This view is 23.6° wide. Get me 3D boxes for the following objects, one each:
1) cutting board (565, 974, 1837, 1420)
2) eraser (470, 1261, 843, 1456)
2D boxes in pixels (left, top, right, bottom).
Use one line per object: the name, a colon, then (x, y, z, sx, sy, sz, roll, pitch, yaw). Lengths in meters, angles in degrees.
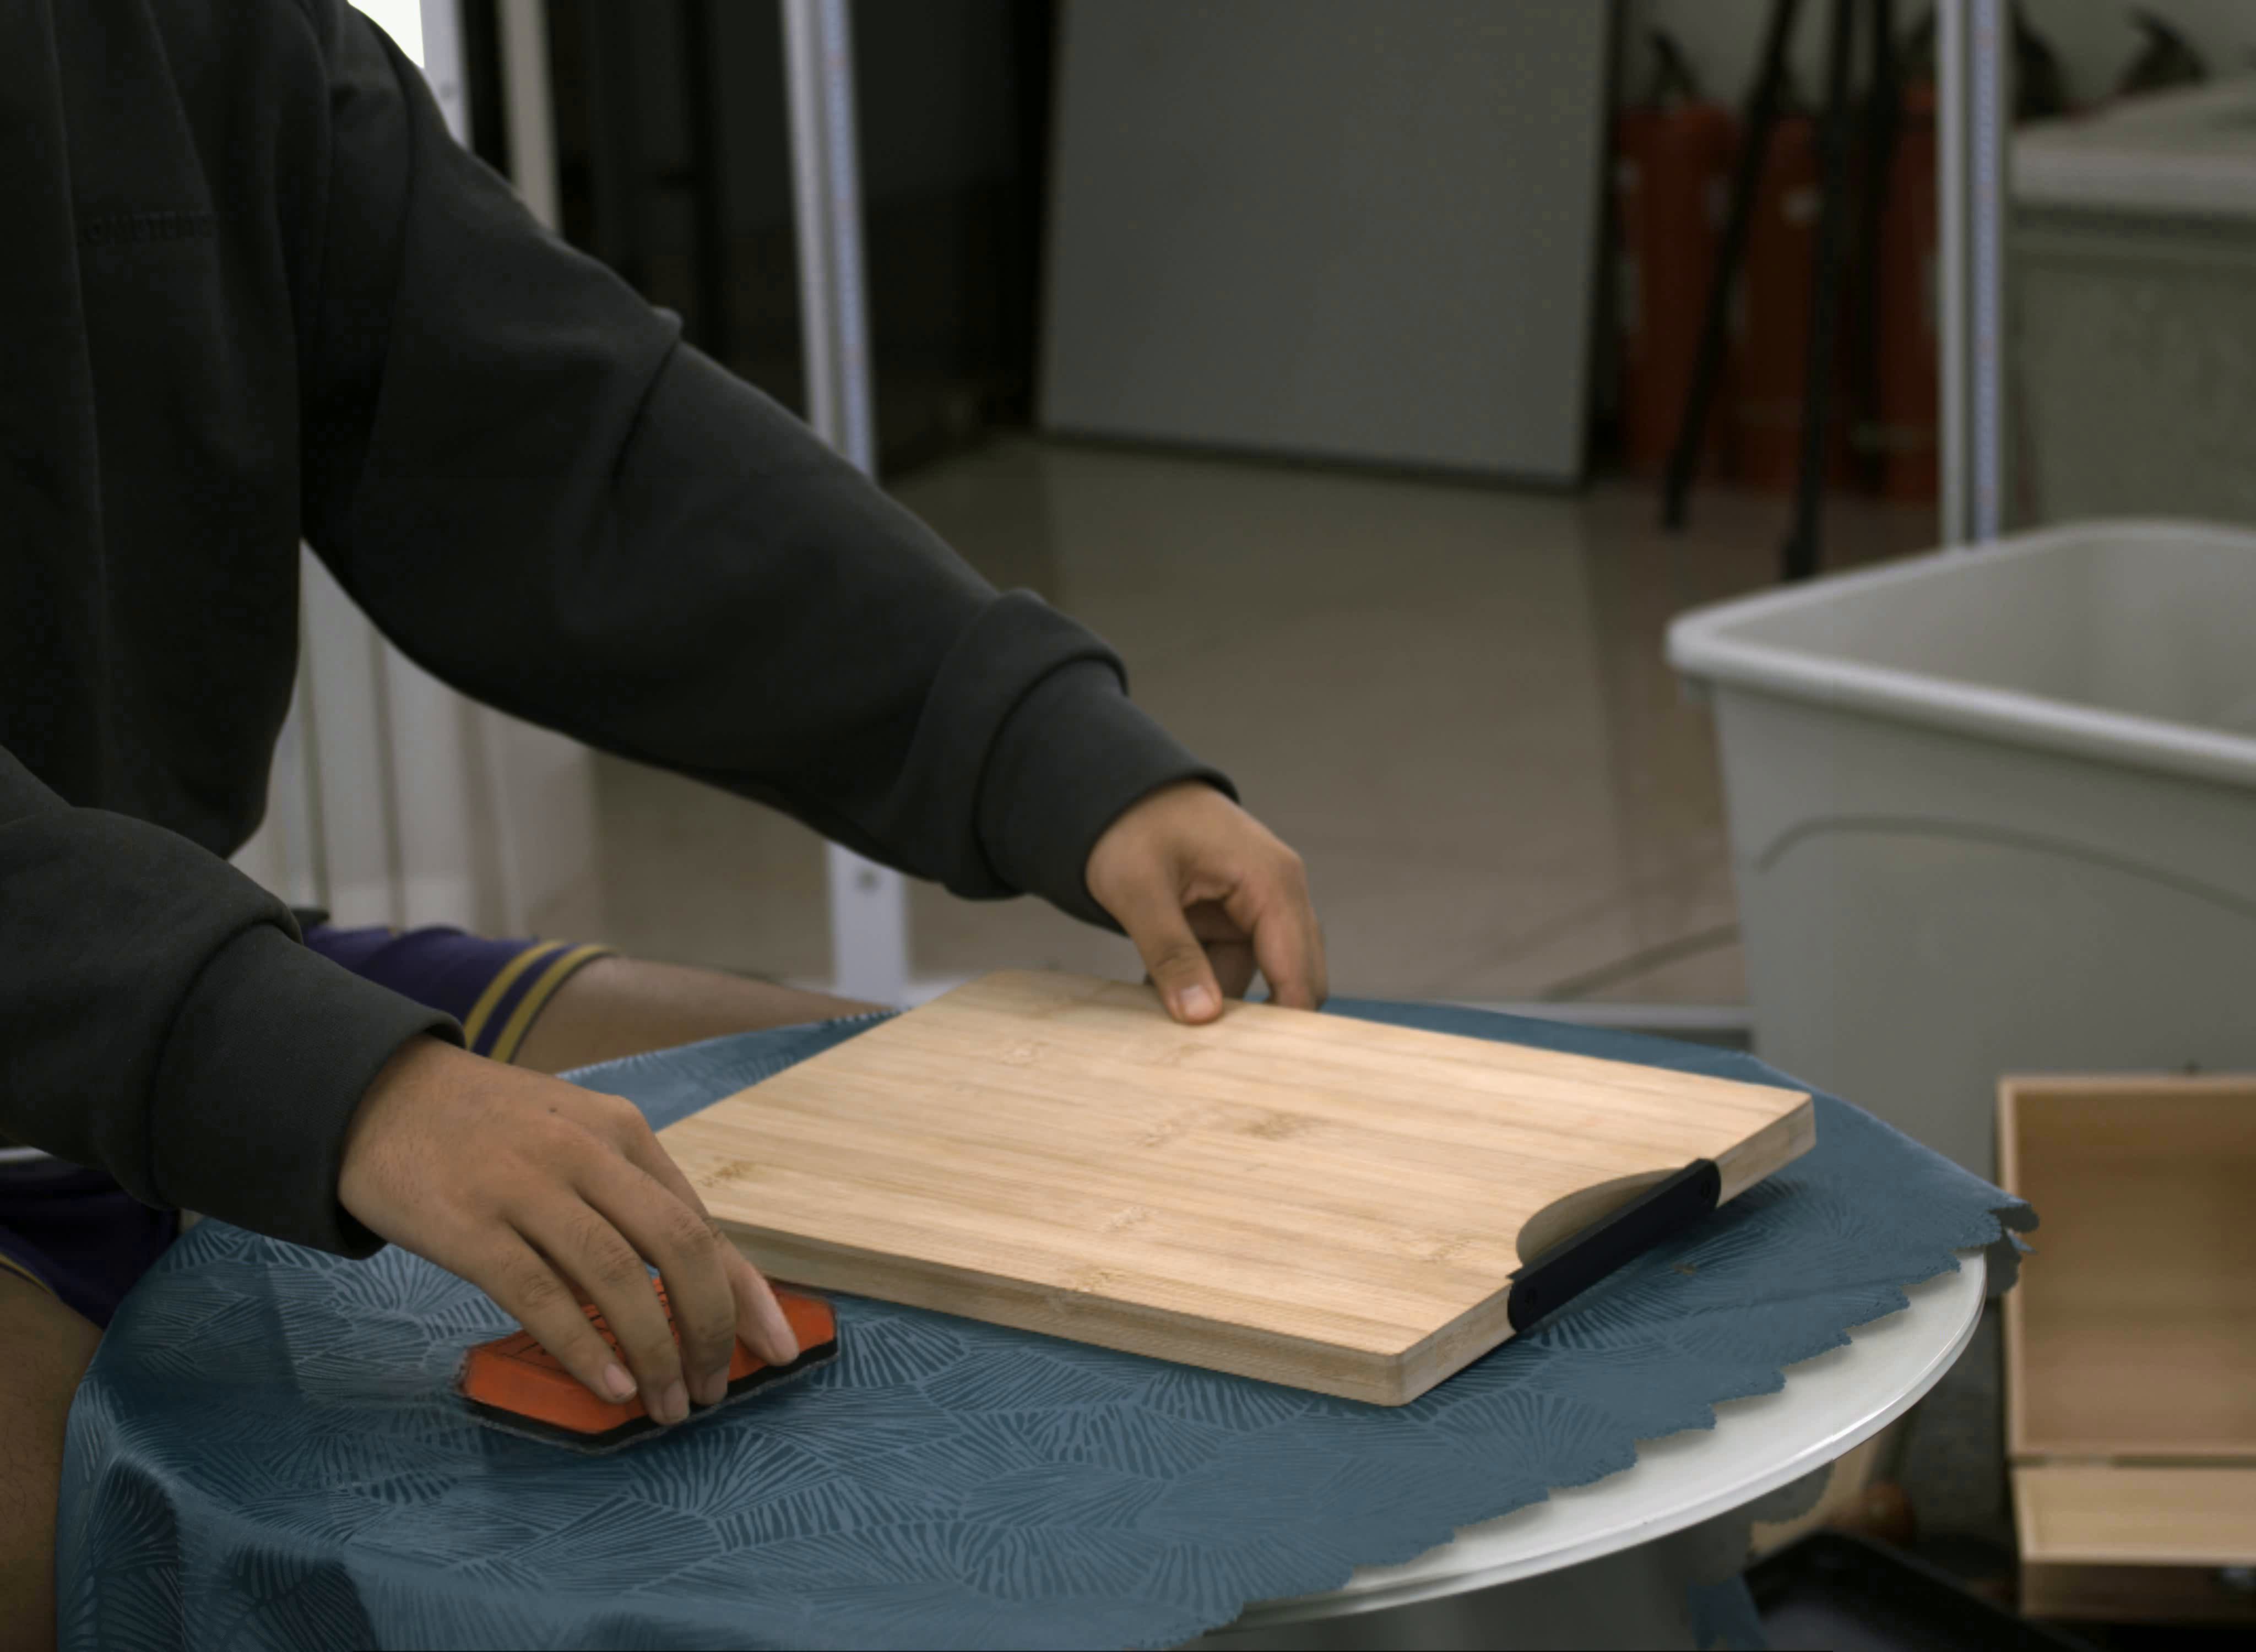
cutting board: (0.022, 0.112, 1.740, 0.351, 0.024, 0.246, 7, 21, 38)
eraser: (-0.140, 0.158, 1.609, 0.059, 0.023, 0.106, 9, 19, 44)
